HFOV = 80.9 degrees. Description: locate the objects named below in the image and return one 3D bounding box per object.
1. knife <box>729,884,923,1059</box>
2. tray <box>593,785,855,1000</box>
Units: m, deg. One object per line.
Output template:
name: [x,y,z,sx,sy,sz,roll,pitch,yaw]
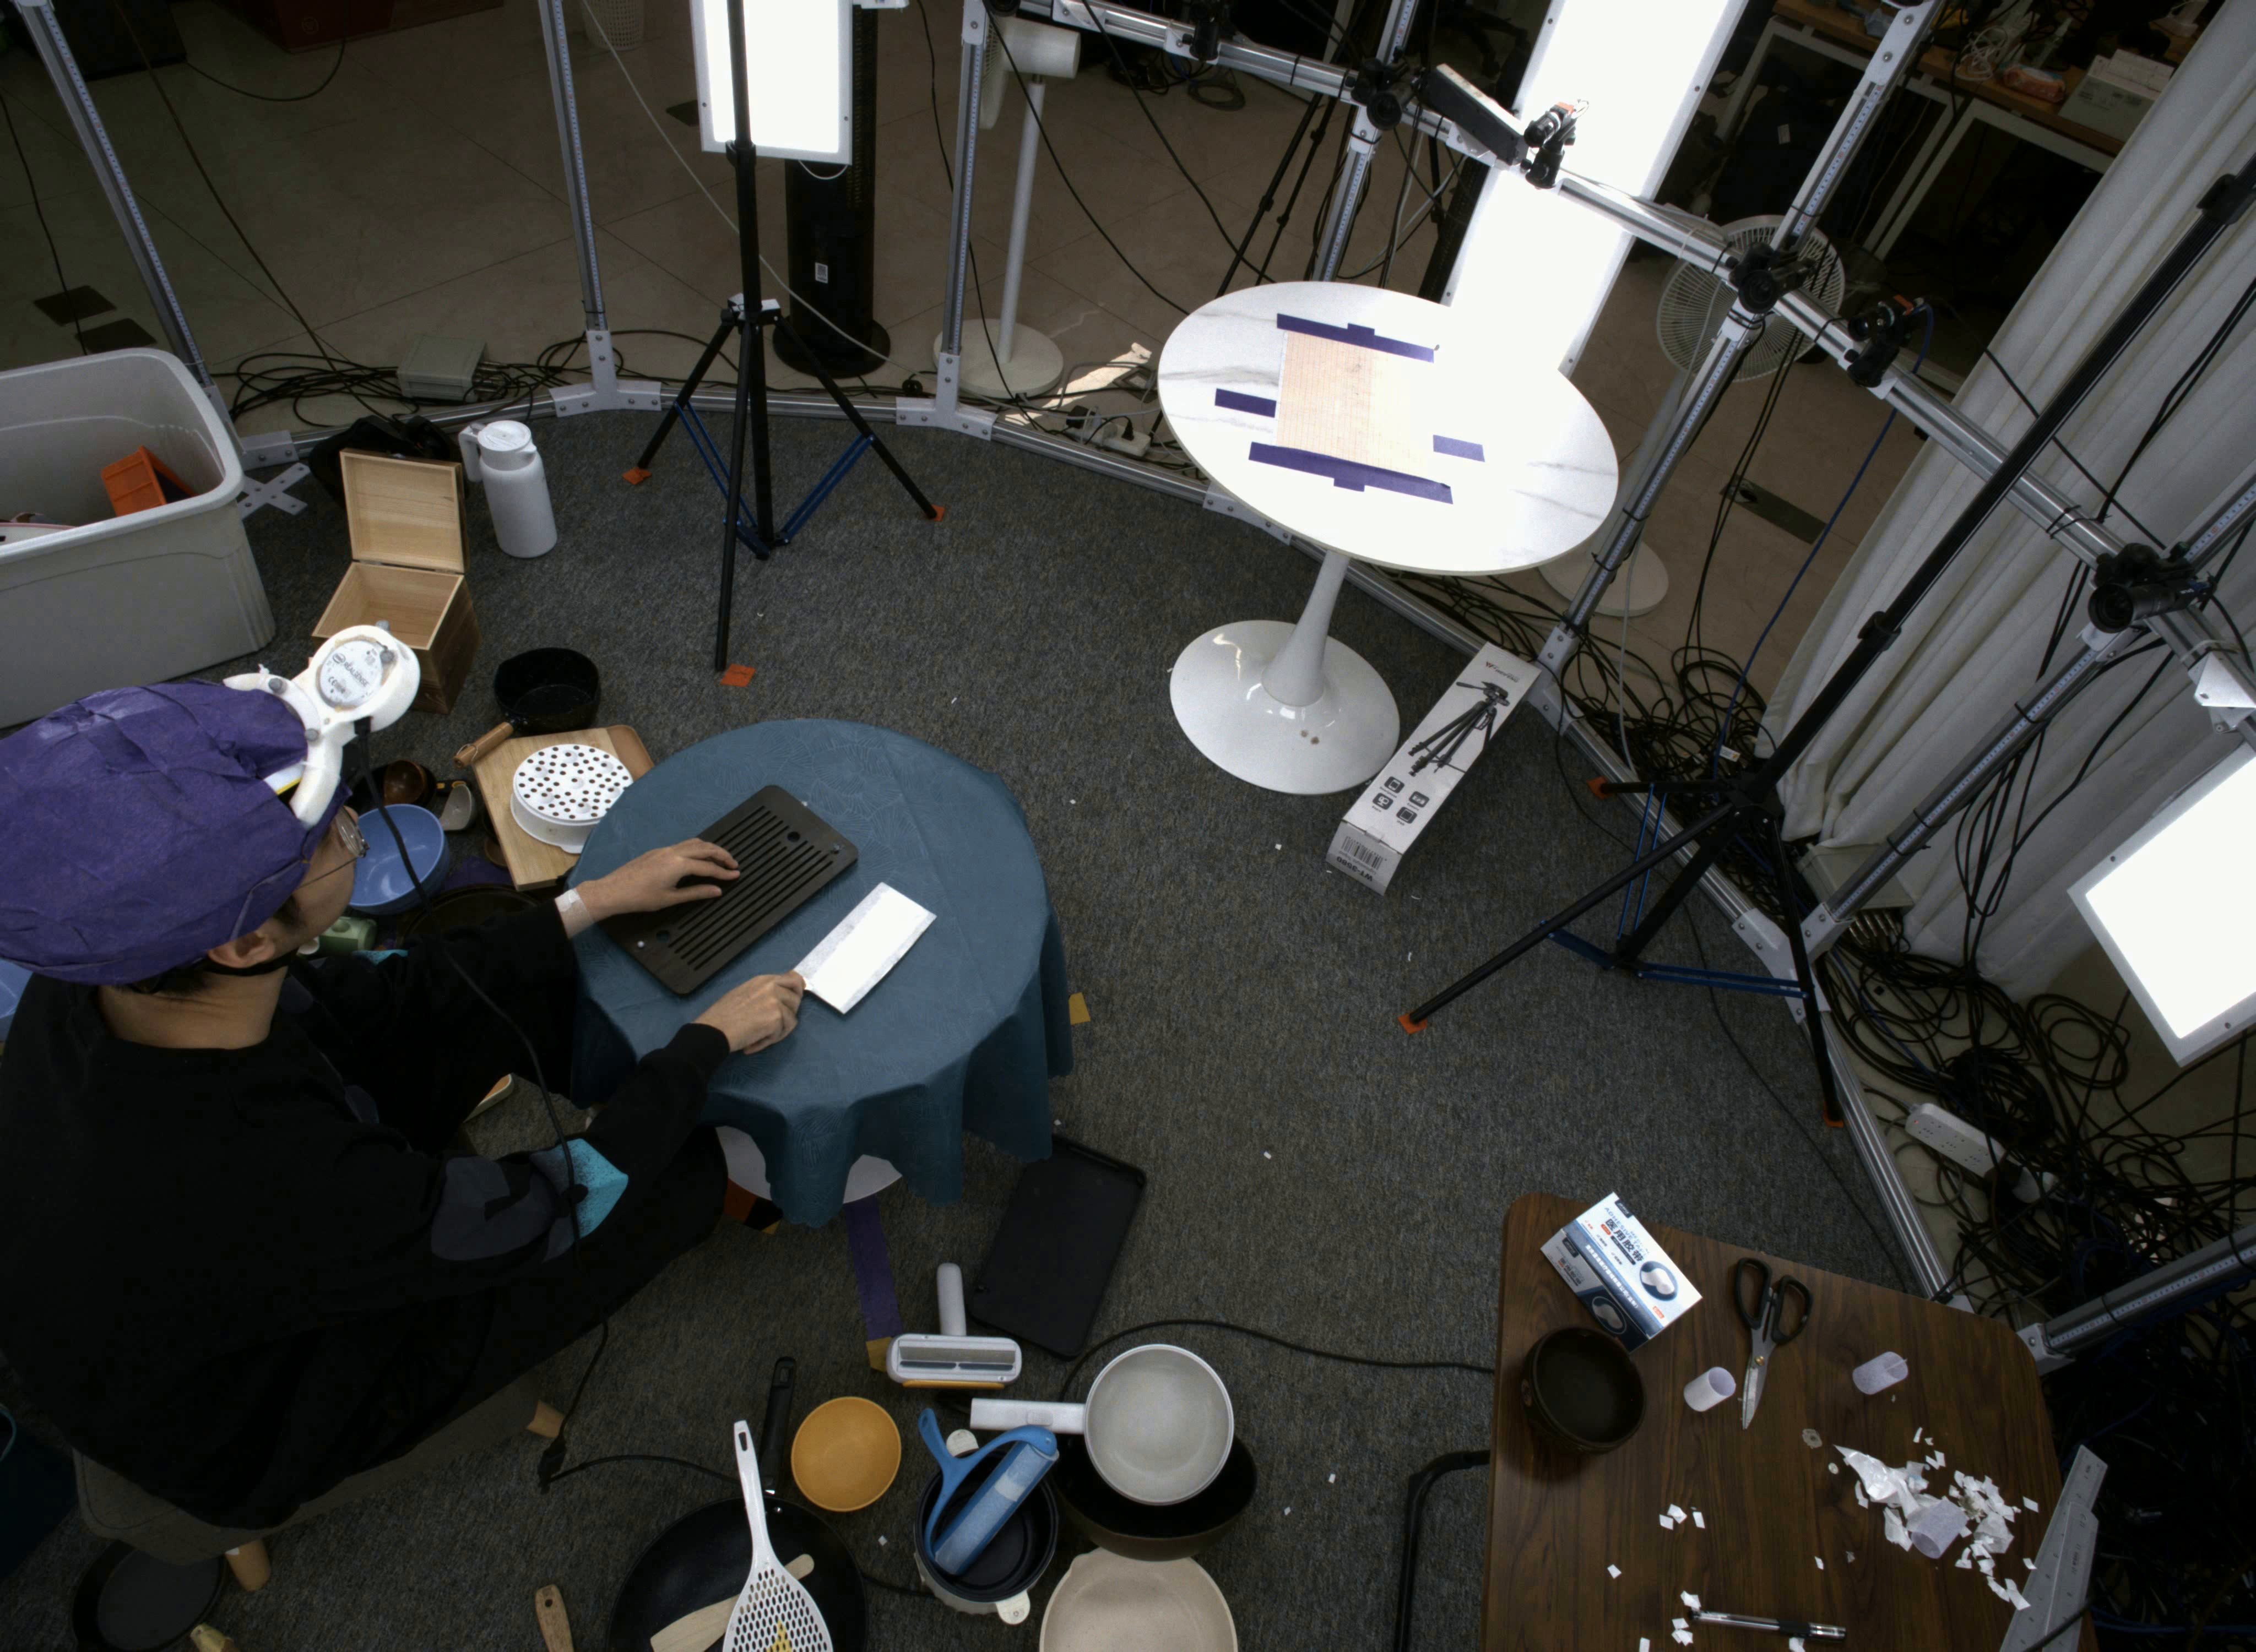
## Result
knife: [-0.357,0.180,1.582,0.091,0.021,0.305,31,48,9]
tray: [-0.505,0.076,1.623,0.167,0.019,0.306,37,53,13]
